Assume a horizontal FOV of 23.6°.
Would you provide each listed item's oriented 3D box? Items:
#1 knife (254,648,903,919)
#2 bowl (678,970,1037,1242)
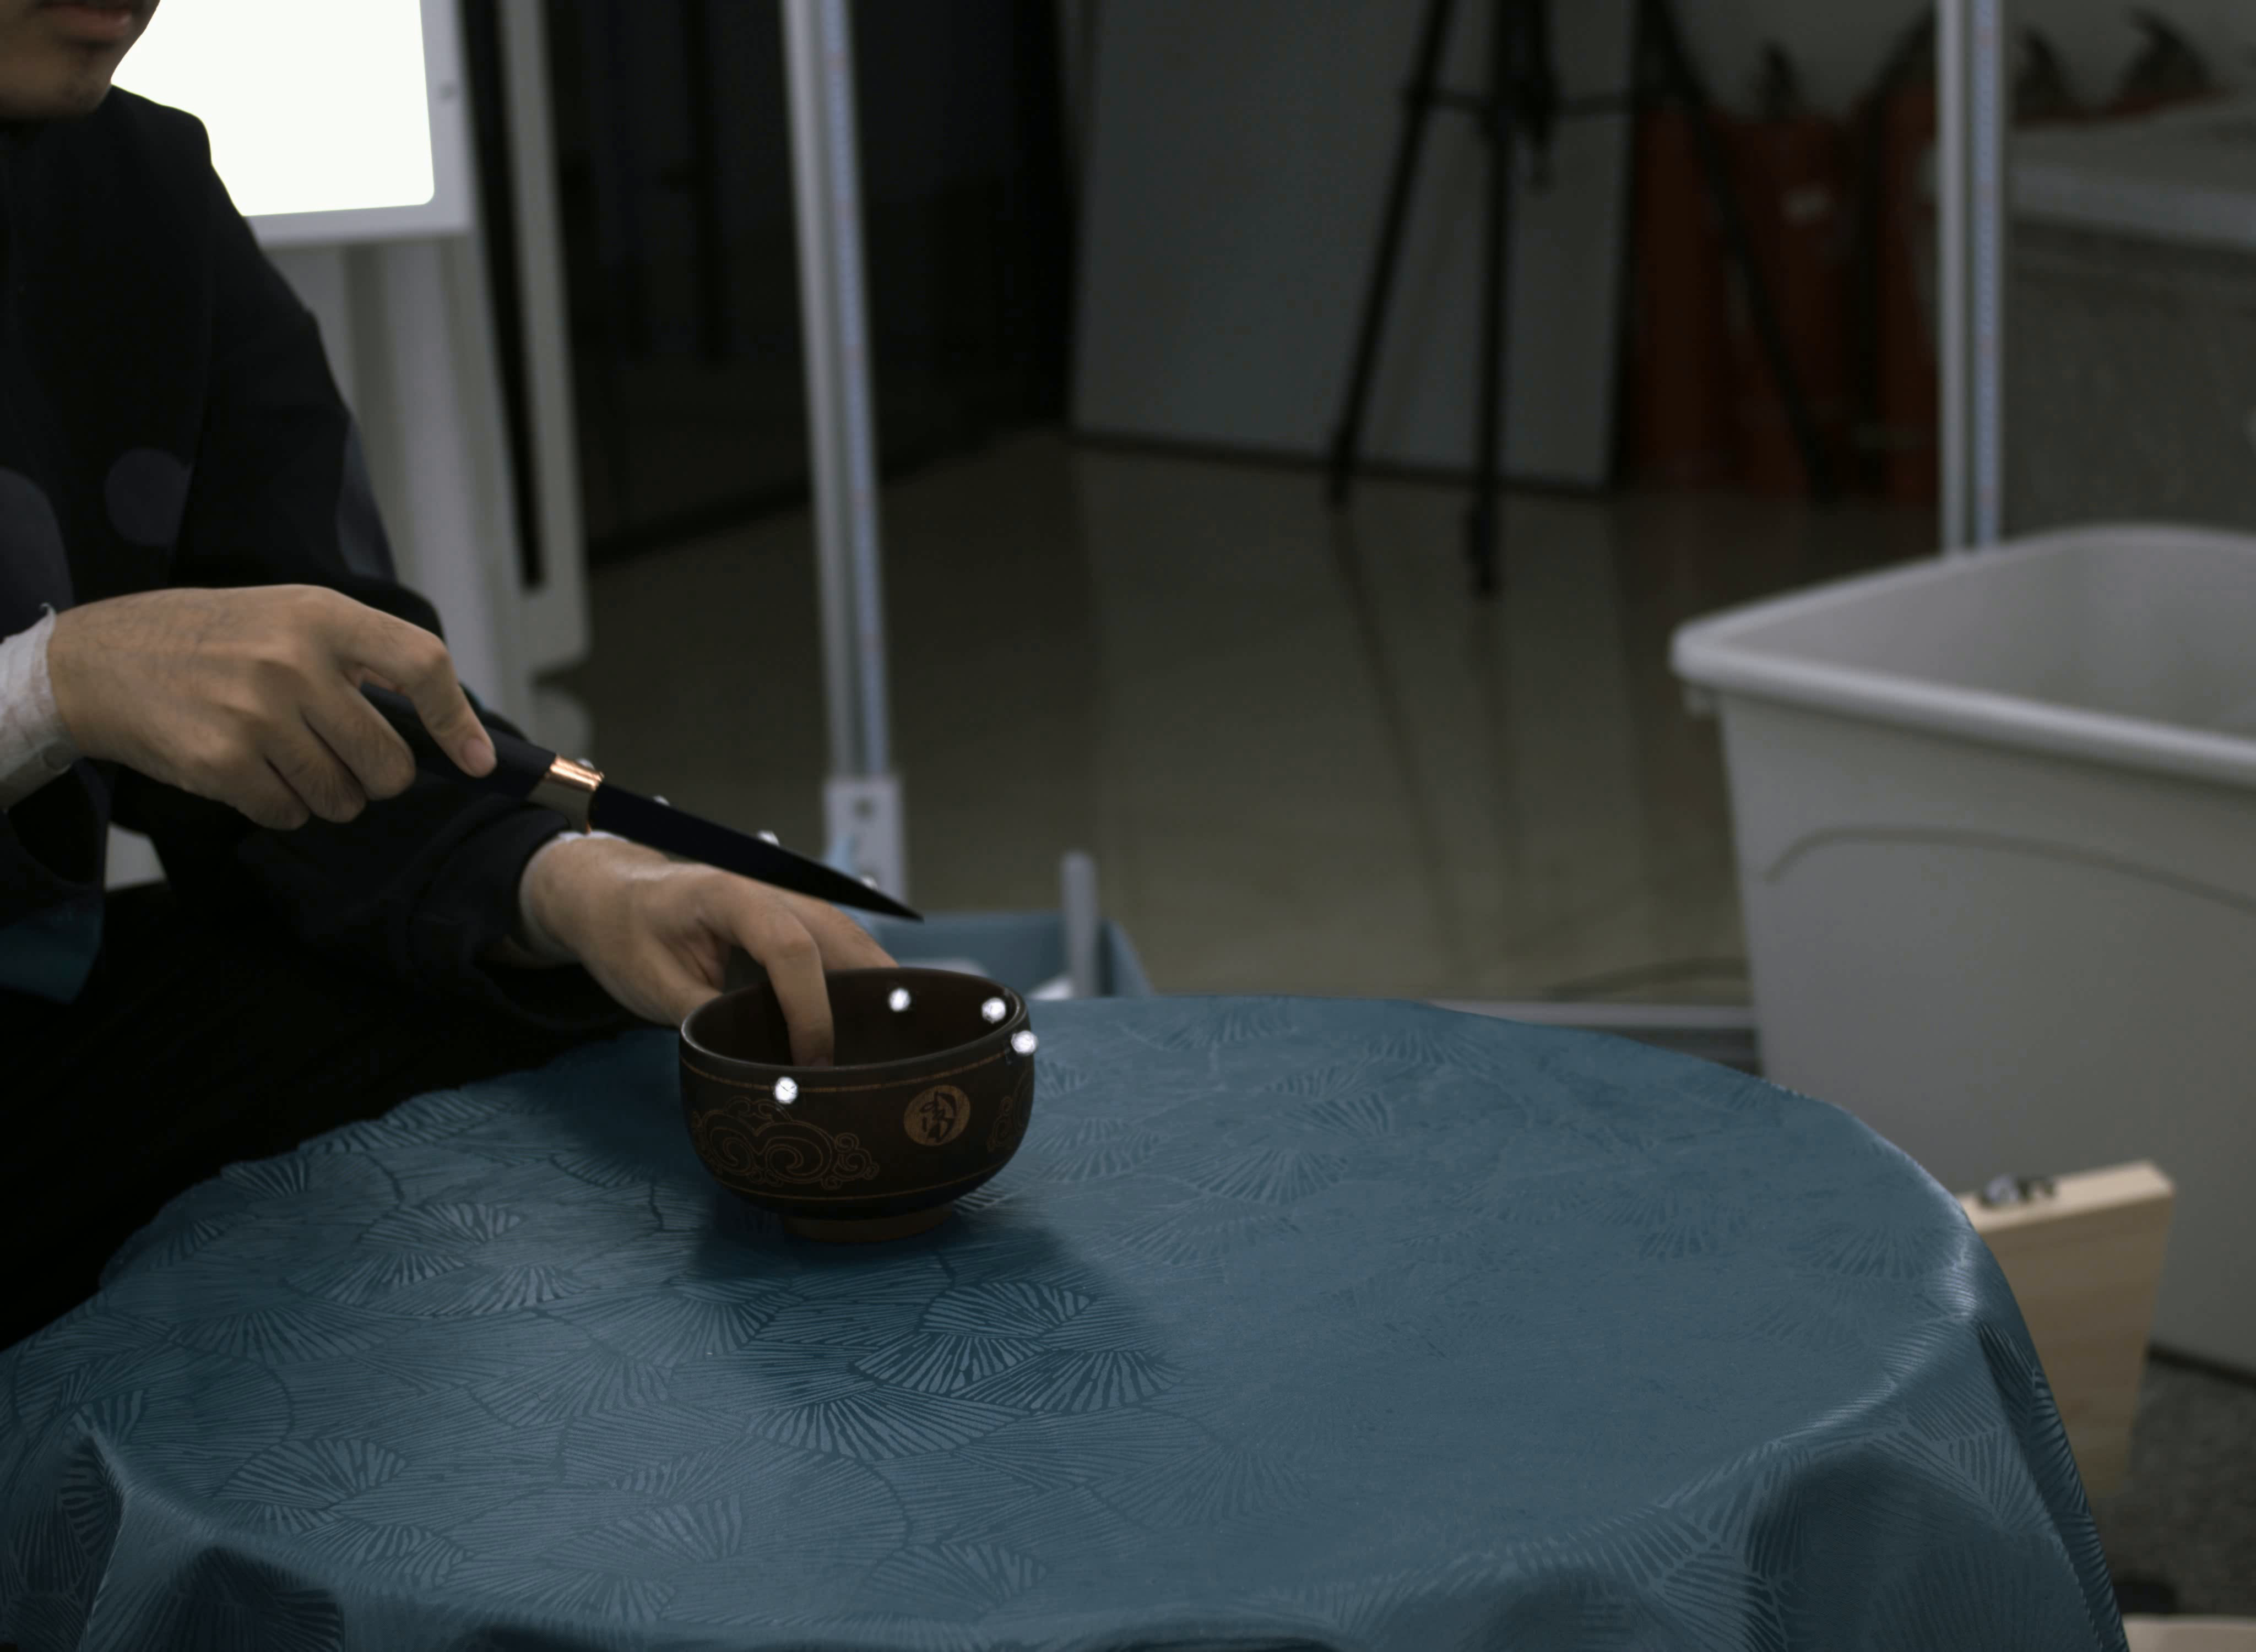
[{"bbox_3d":[-0.176,-0.013,1.736,0.224,0.017,0.026,21,-21,6],"label":"knife"},{"bbox_3d":[-0.086,0.094,1.751,0.116,0.070,0.118,-4,11,0],"label":"bowl"}]
